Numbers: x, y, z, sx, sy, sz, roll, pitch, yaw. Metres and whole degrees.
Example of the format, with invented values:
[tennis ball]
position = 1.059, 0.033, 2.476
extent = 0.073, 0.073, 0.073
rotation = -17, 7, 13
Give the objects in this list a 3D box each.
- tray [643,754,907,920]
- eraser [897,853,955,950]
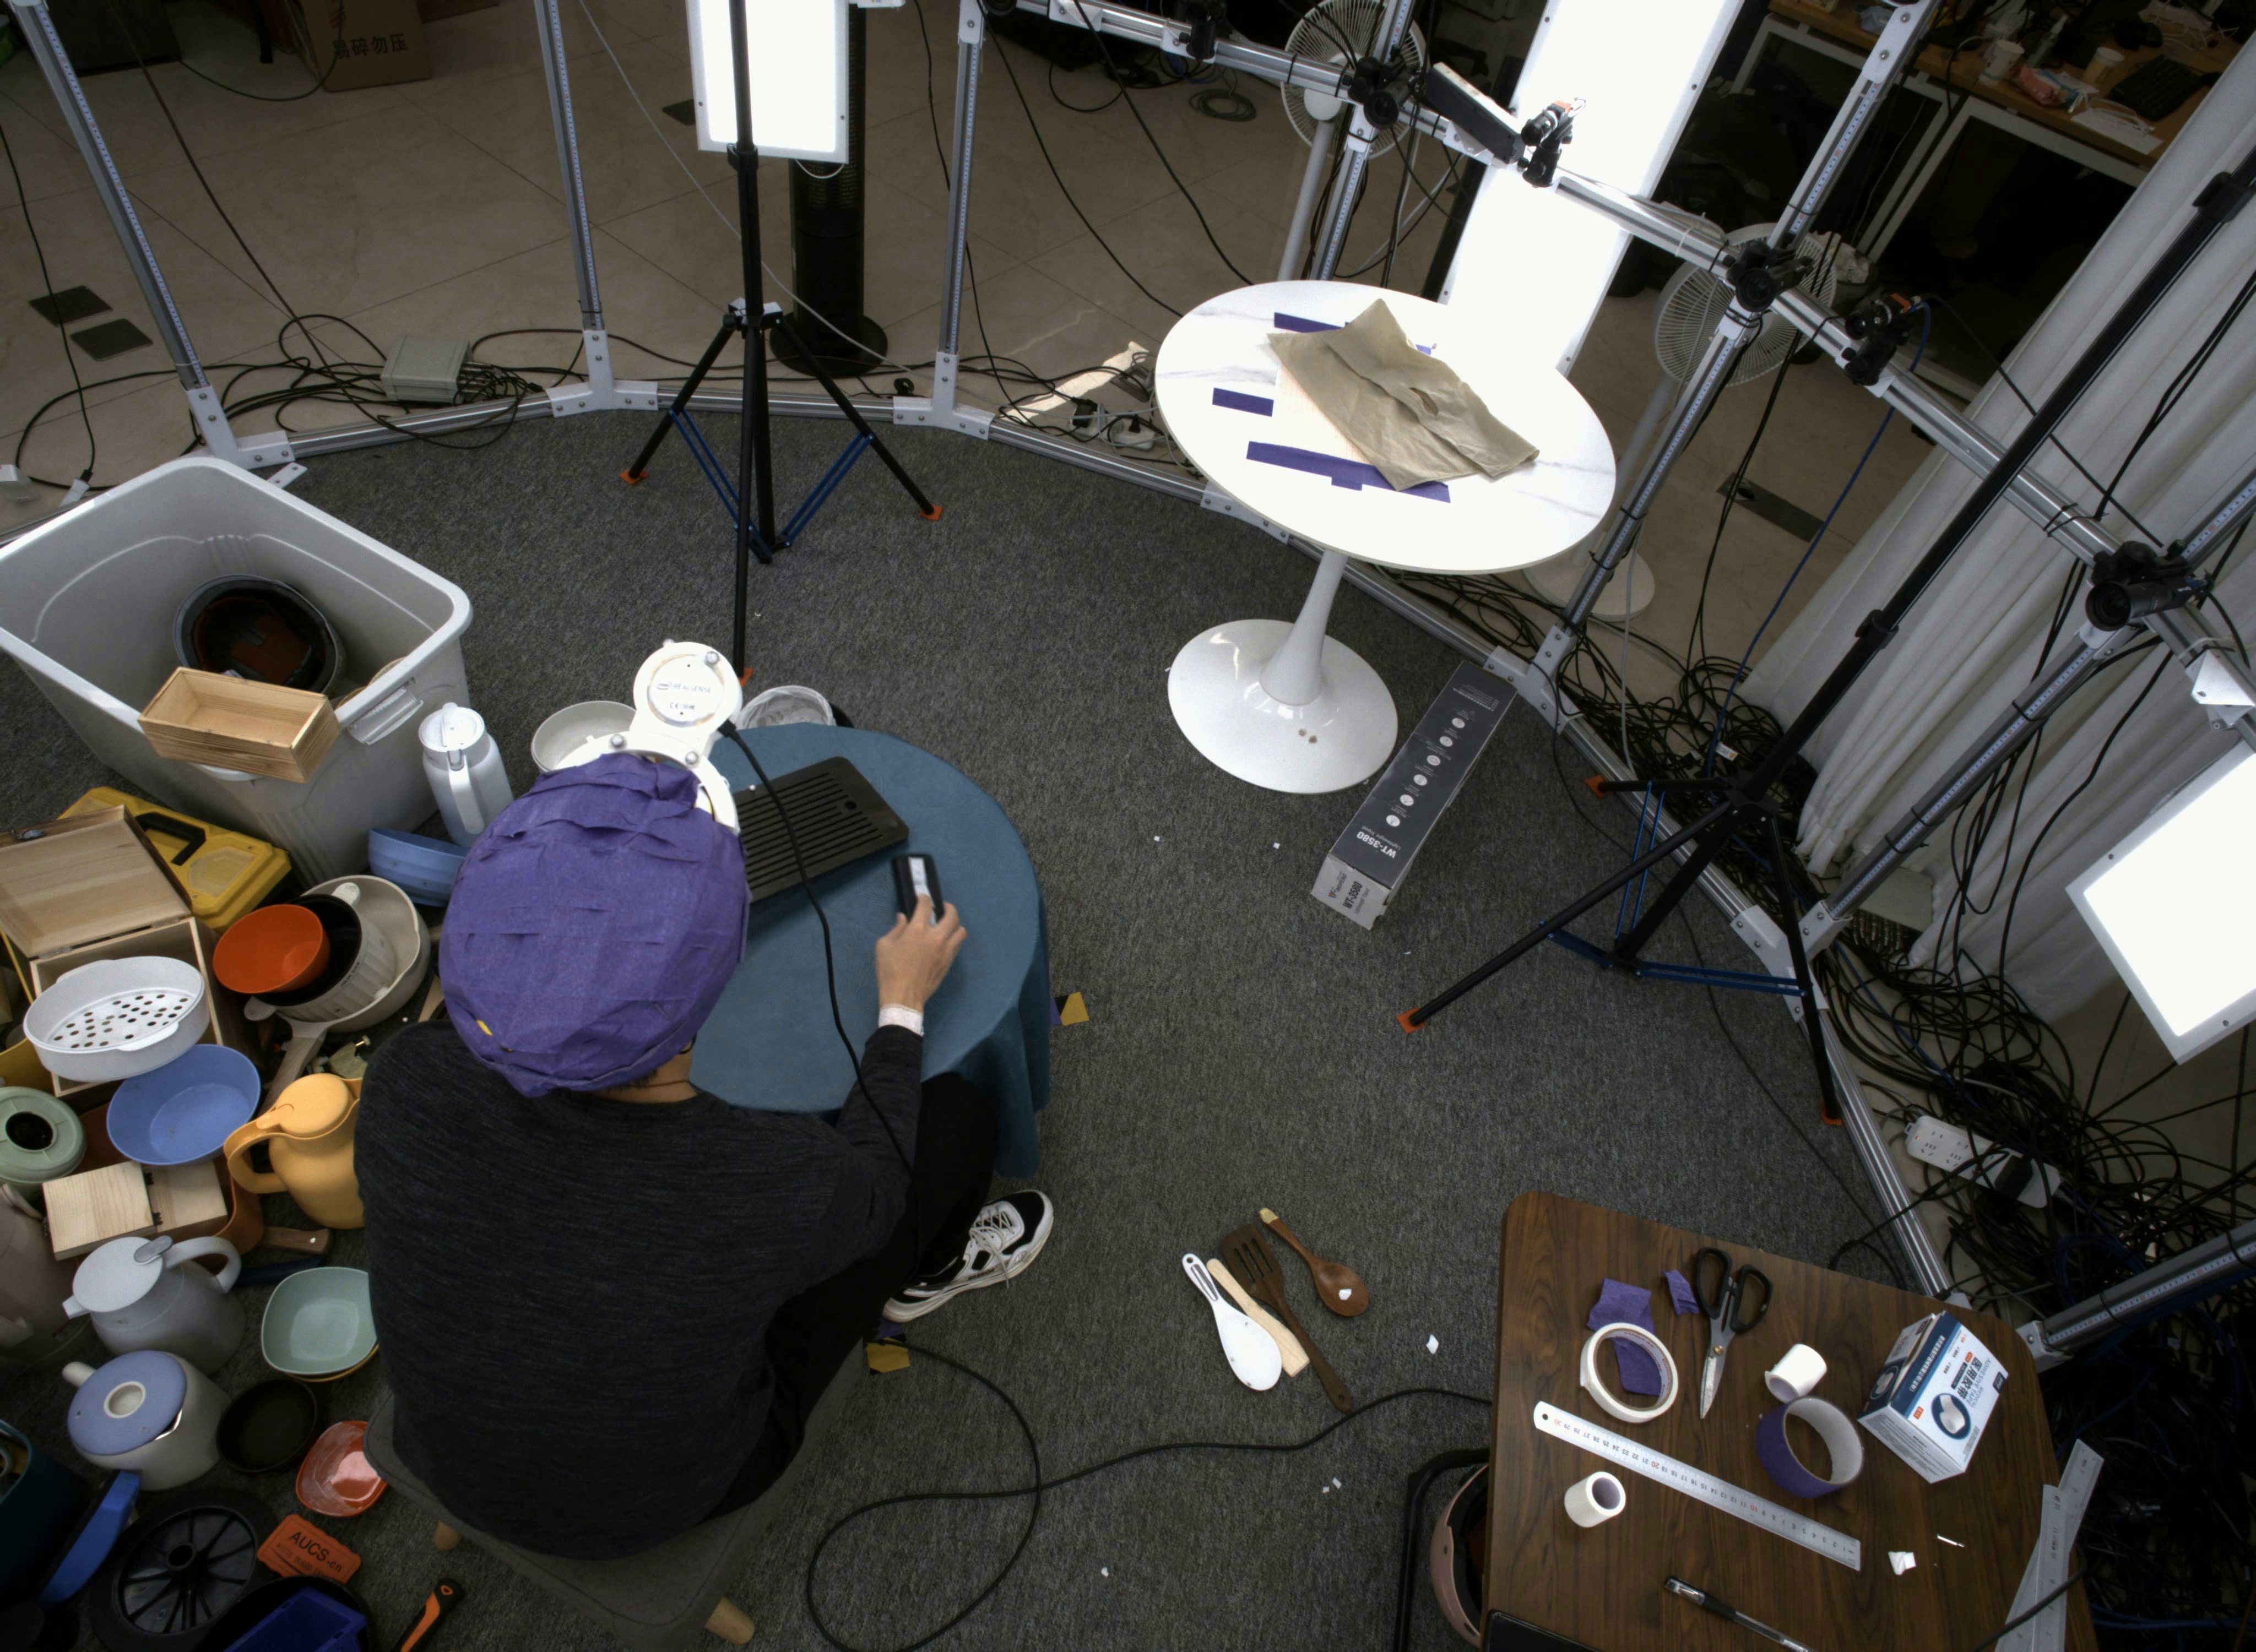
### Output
[tray]
position = -0.451, 0.009, 1.667
extent = 0.308, 0.019, 0.166
rotation = -26, 63, -39
[eraser]
position = -0.257, 0.093, 1.642
extent = 0.054, 0.031, 0.123
rotation = -3, 58, -23
